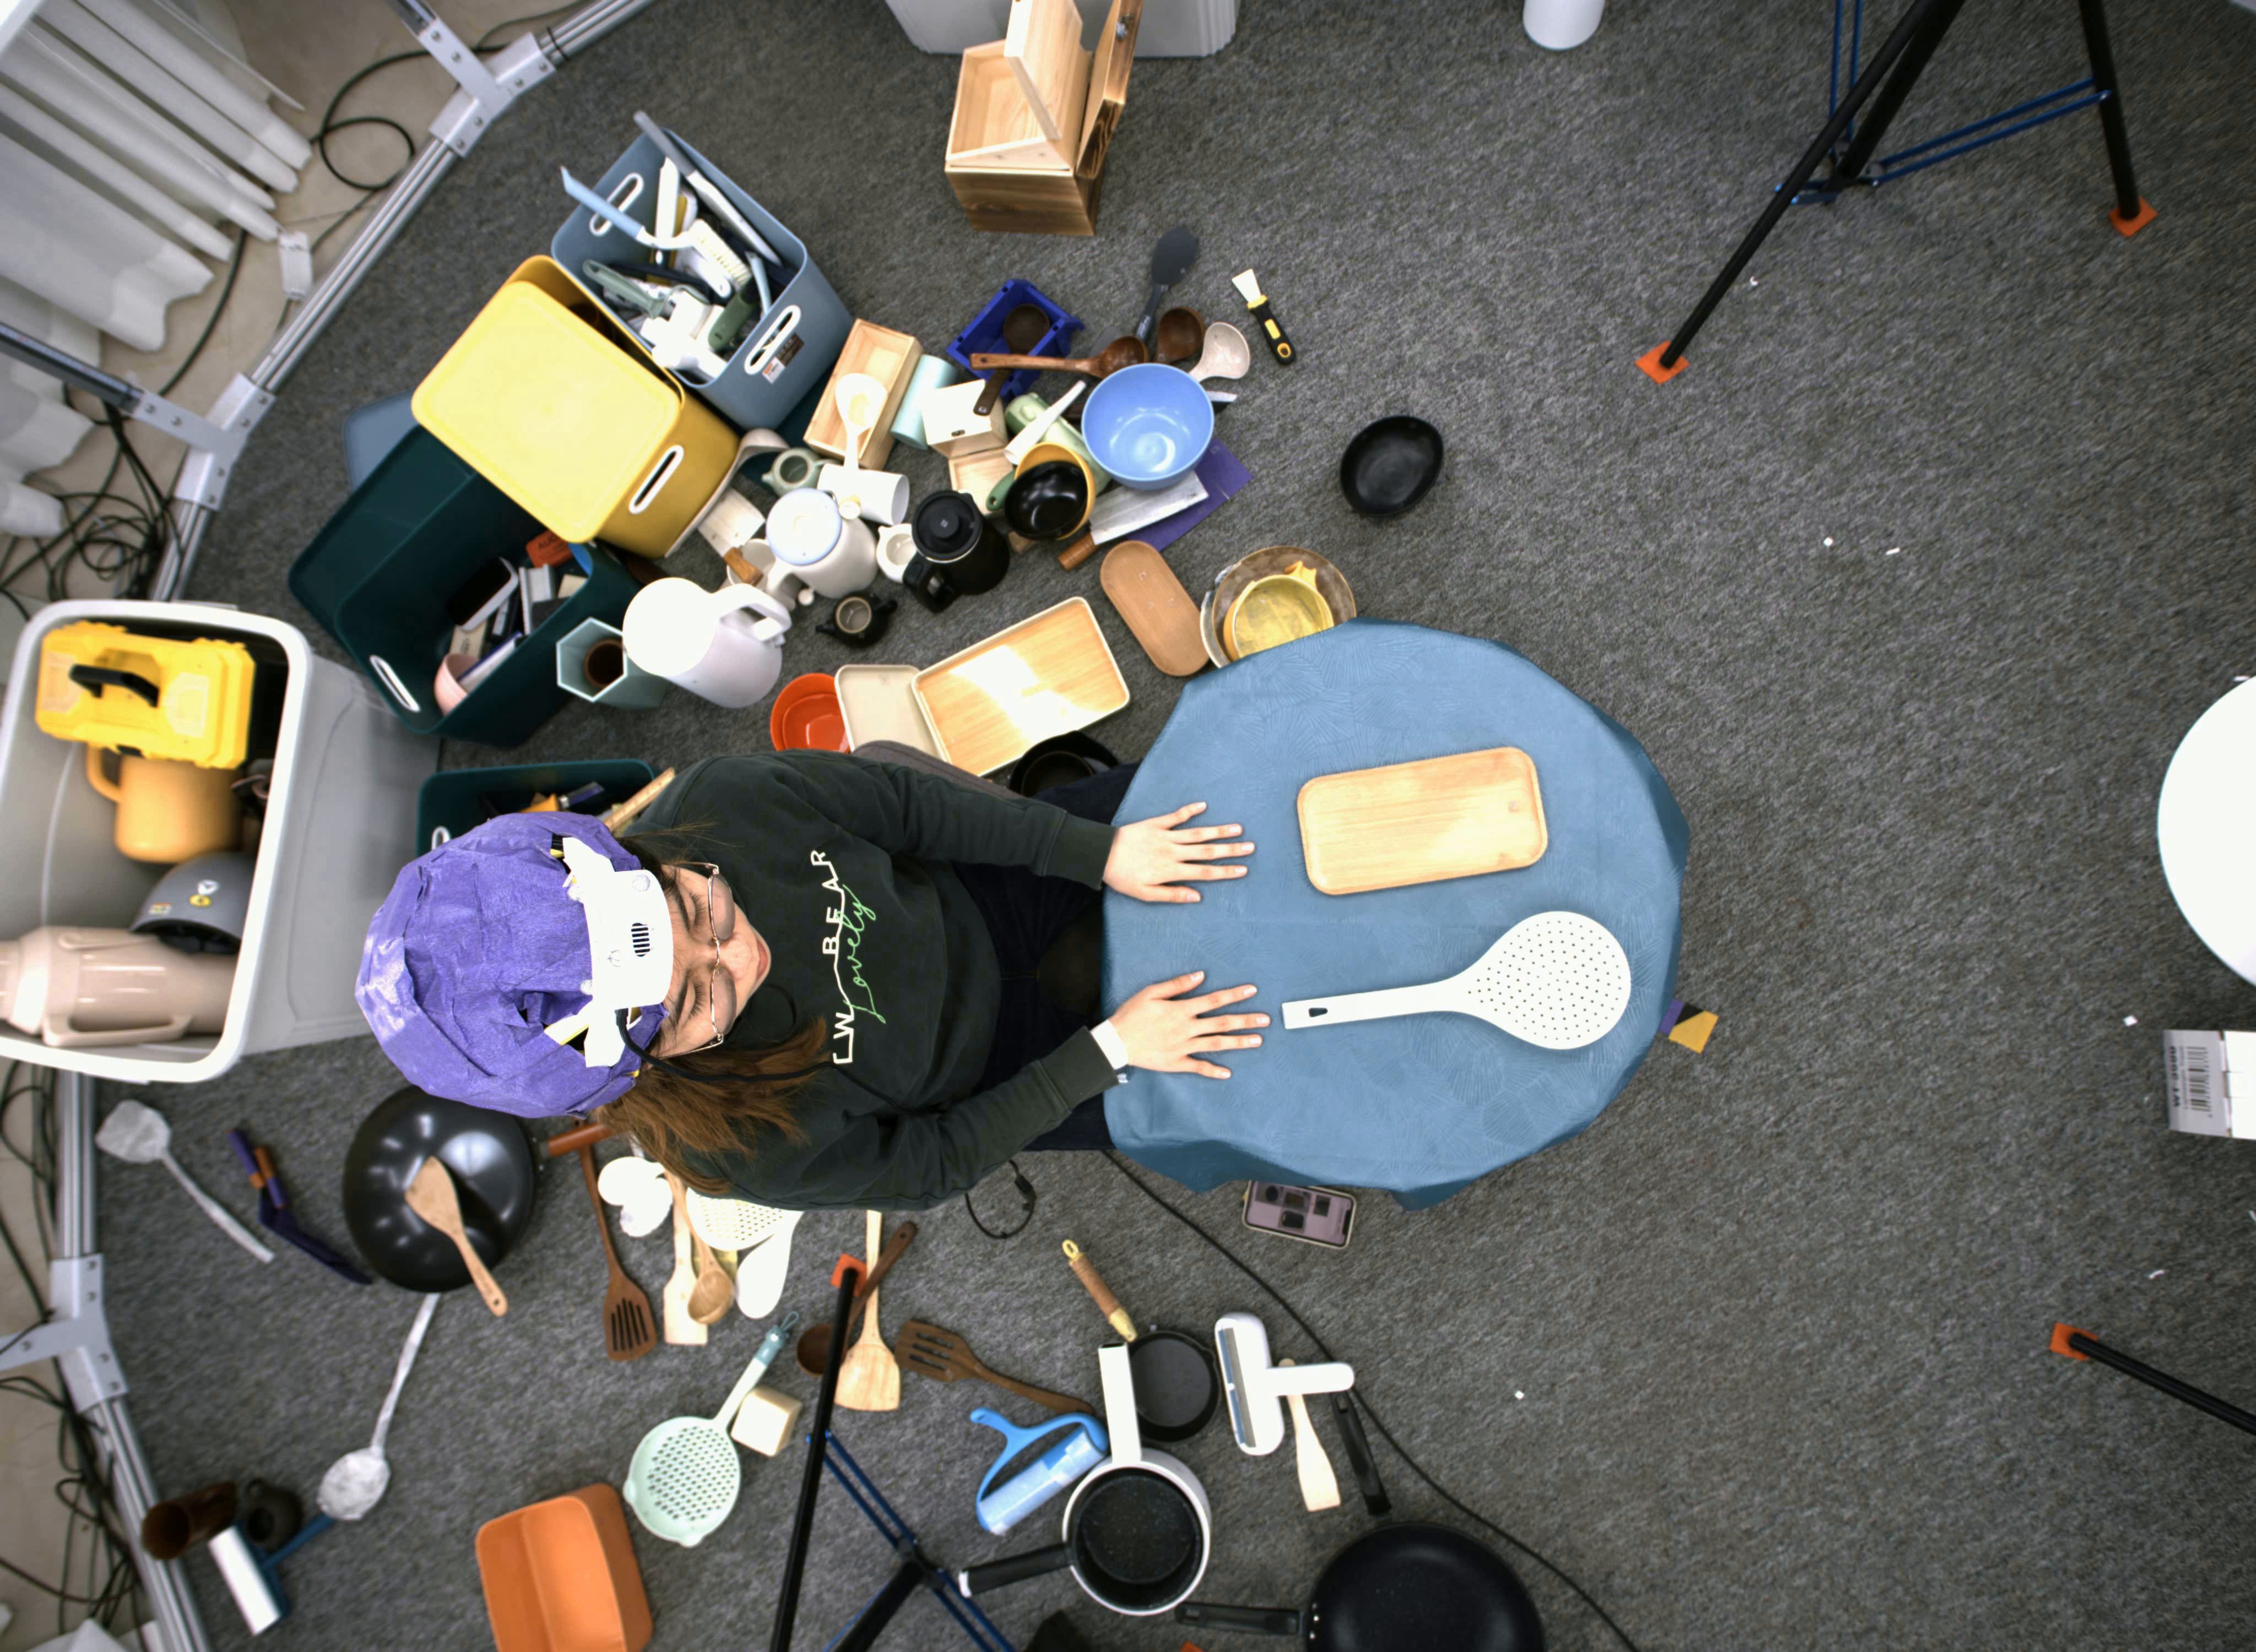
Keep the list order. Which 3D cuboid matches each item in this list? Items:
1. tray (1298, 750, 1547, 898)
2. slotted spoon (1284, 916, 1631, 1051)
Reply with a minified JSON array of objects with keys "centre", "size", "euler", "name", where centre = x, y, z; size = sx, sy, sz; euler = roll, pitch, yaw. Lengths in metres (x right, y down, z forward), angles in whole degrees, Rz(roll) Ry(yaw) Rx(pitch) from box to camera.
[{"centre":[0.309,-0.003,1.454],"size":[0.252,0.023,0.129],"euler":[-9,83,10],"name":"tray"},{"centre":[0.335,0.174,1.423],"size":[0.351,0.046,0.135],"euler":[-9,82,10],"name":"slotted spoon"}]
